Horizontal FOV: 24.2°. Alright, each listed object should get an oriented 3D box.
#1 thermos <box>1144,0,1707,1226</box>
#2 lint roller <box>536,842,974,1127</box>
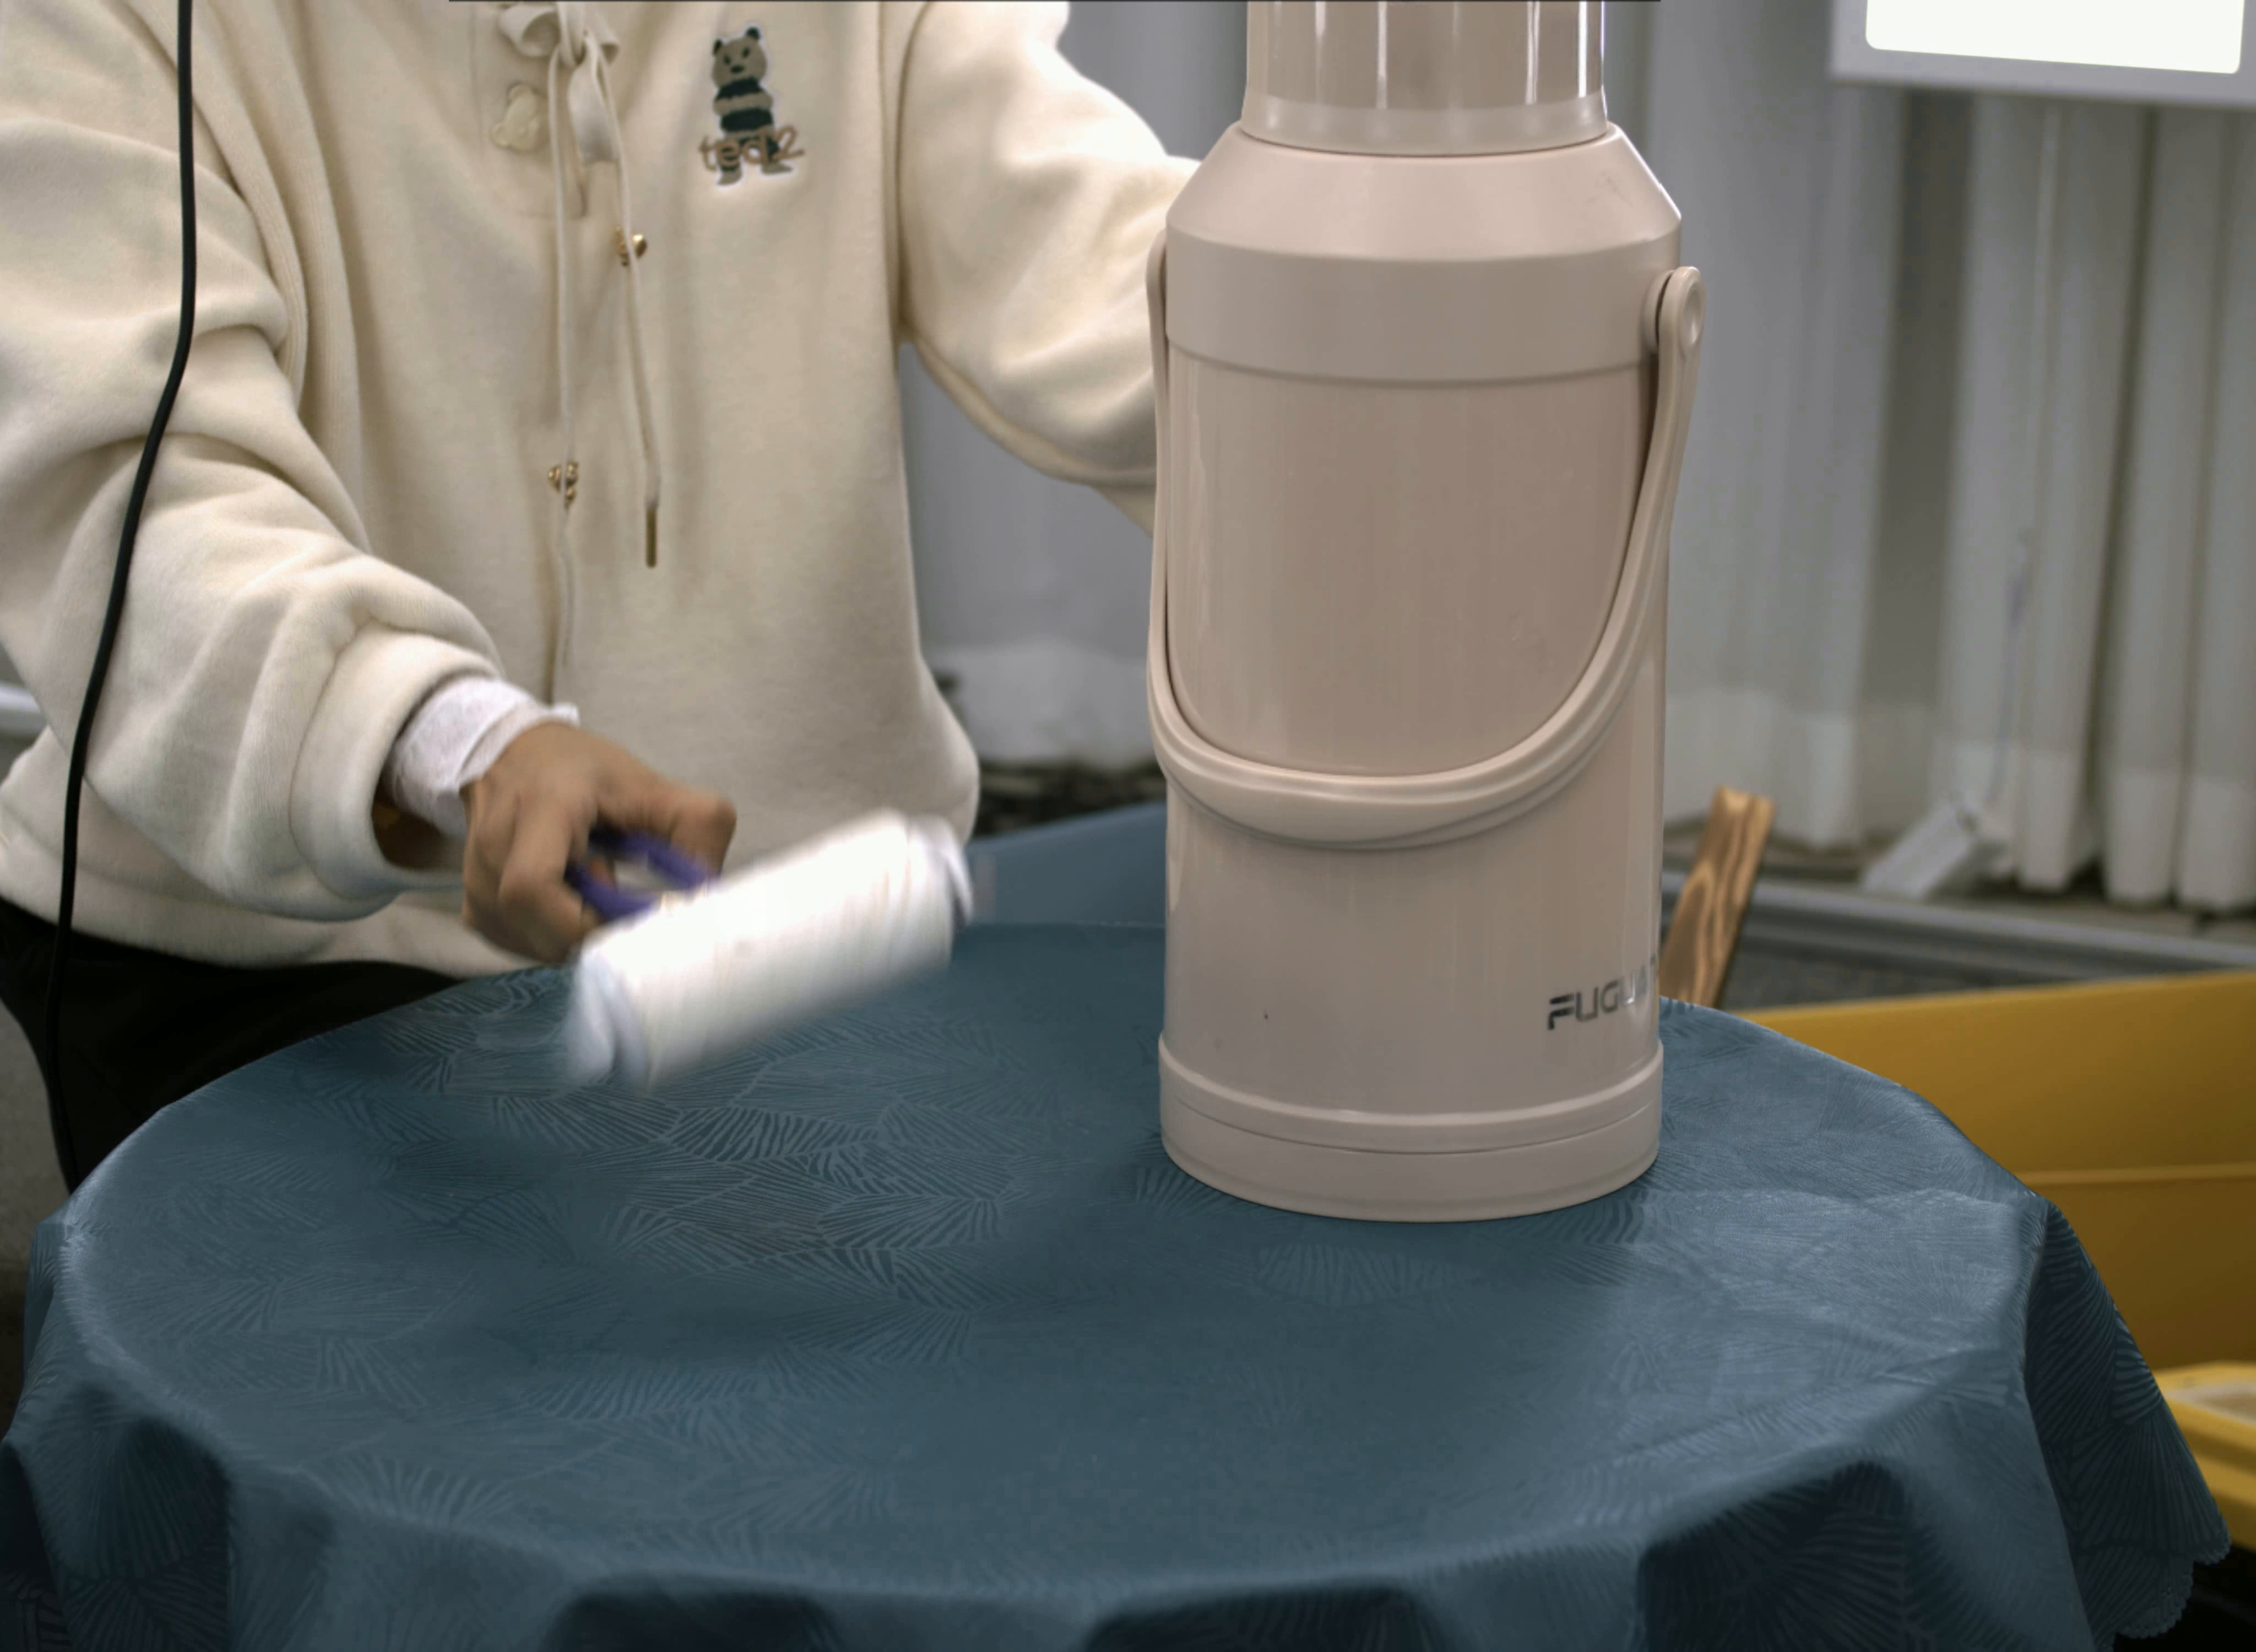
[{"bbox_3d":[0.096,-0.094,1.625,0.173,0.409,0.207,7,17,25],"label":"thermos"},{"bbox_3d":[-0.135,0.025,1.581,0.133,0.051,0.178,-20,31,-20],"label":"lint roller"}]
